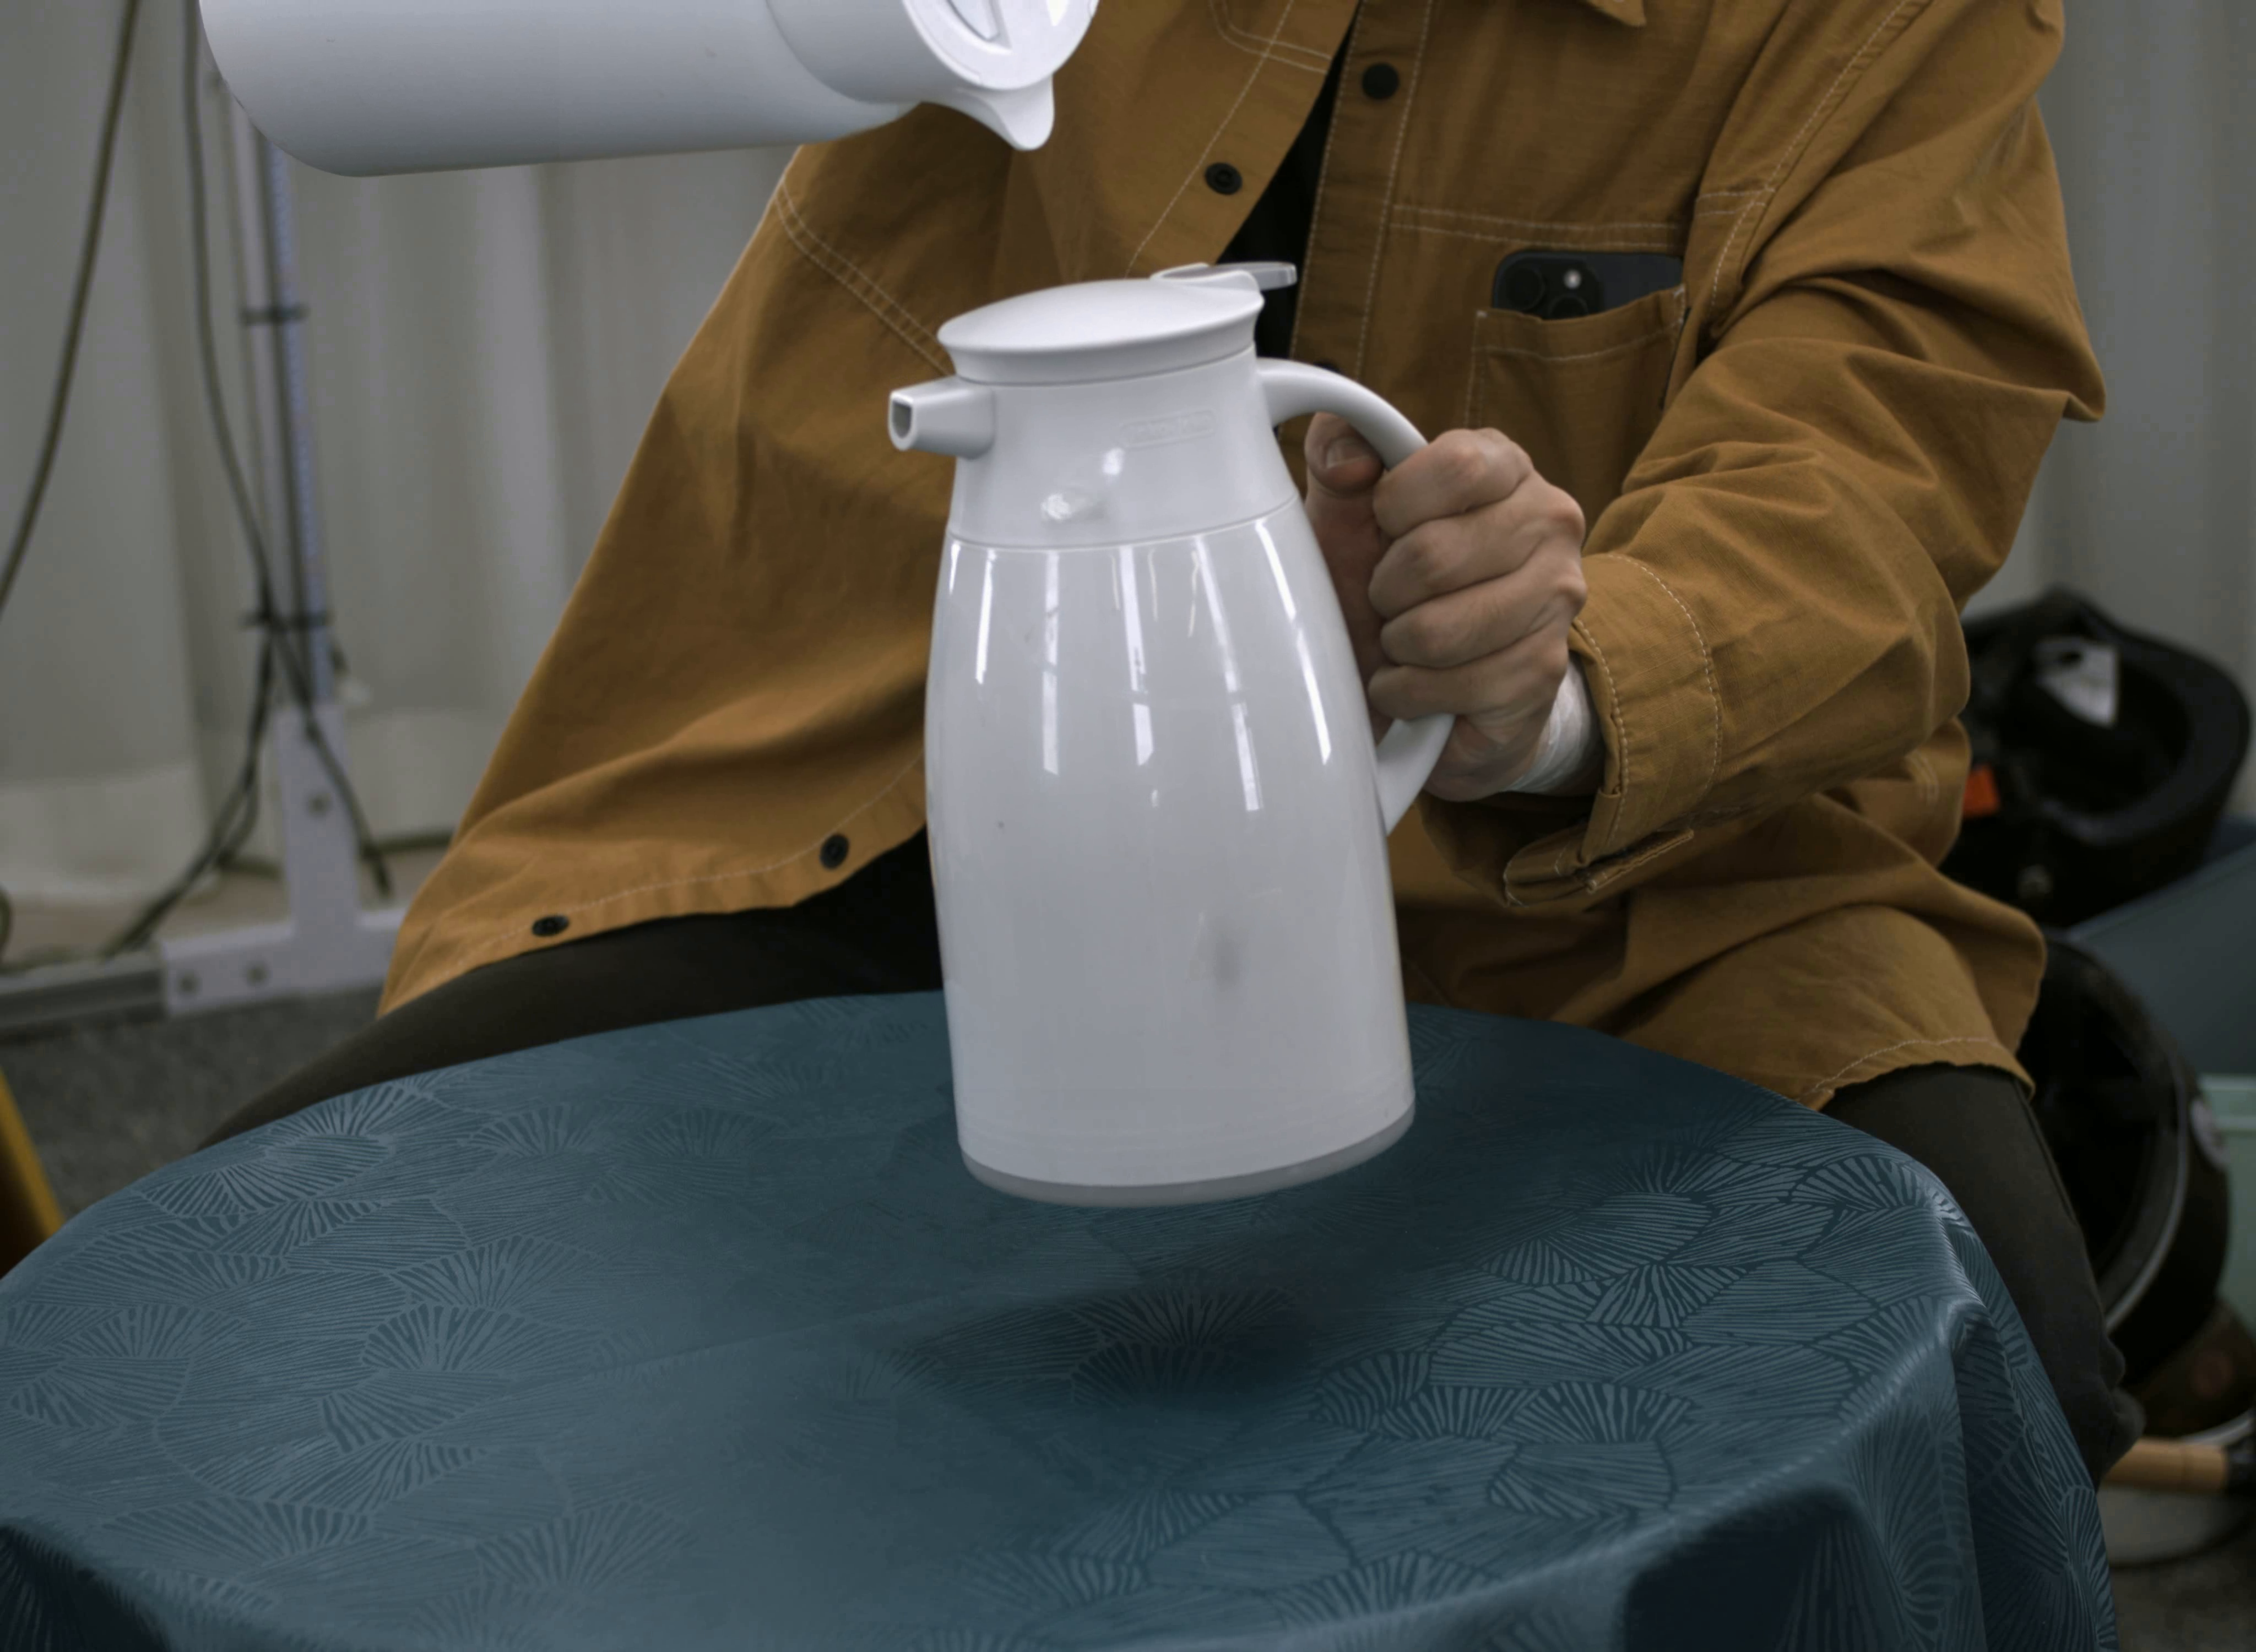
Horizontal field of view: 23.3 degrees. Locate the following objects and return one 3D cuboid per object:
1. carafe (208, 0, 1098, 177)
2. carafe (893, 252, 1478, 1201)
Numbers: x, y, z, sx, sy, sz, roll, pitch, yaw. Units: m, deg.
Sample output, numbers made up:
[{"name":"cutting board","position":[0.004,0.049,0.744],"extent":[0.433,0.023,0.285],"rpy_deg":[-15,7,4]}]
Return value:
[{"name":"carafe","position":[-0.142,-0.267,1.573],"extent":[0.269,0.171,0.124],"rpy_deg":[1,28,40]},{"name":"carafe","position":[0.022,-0.036,1.552],"extent":[0.167,0.248,0.133],"rpy_deg":[-11,14,-21]}]
